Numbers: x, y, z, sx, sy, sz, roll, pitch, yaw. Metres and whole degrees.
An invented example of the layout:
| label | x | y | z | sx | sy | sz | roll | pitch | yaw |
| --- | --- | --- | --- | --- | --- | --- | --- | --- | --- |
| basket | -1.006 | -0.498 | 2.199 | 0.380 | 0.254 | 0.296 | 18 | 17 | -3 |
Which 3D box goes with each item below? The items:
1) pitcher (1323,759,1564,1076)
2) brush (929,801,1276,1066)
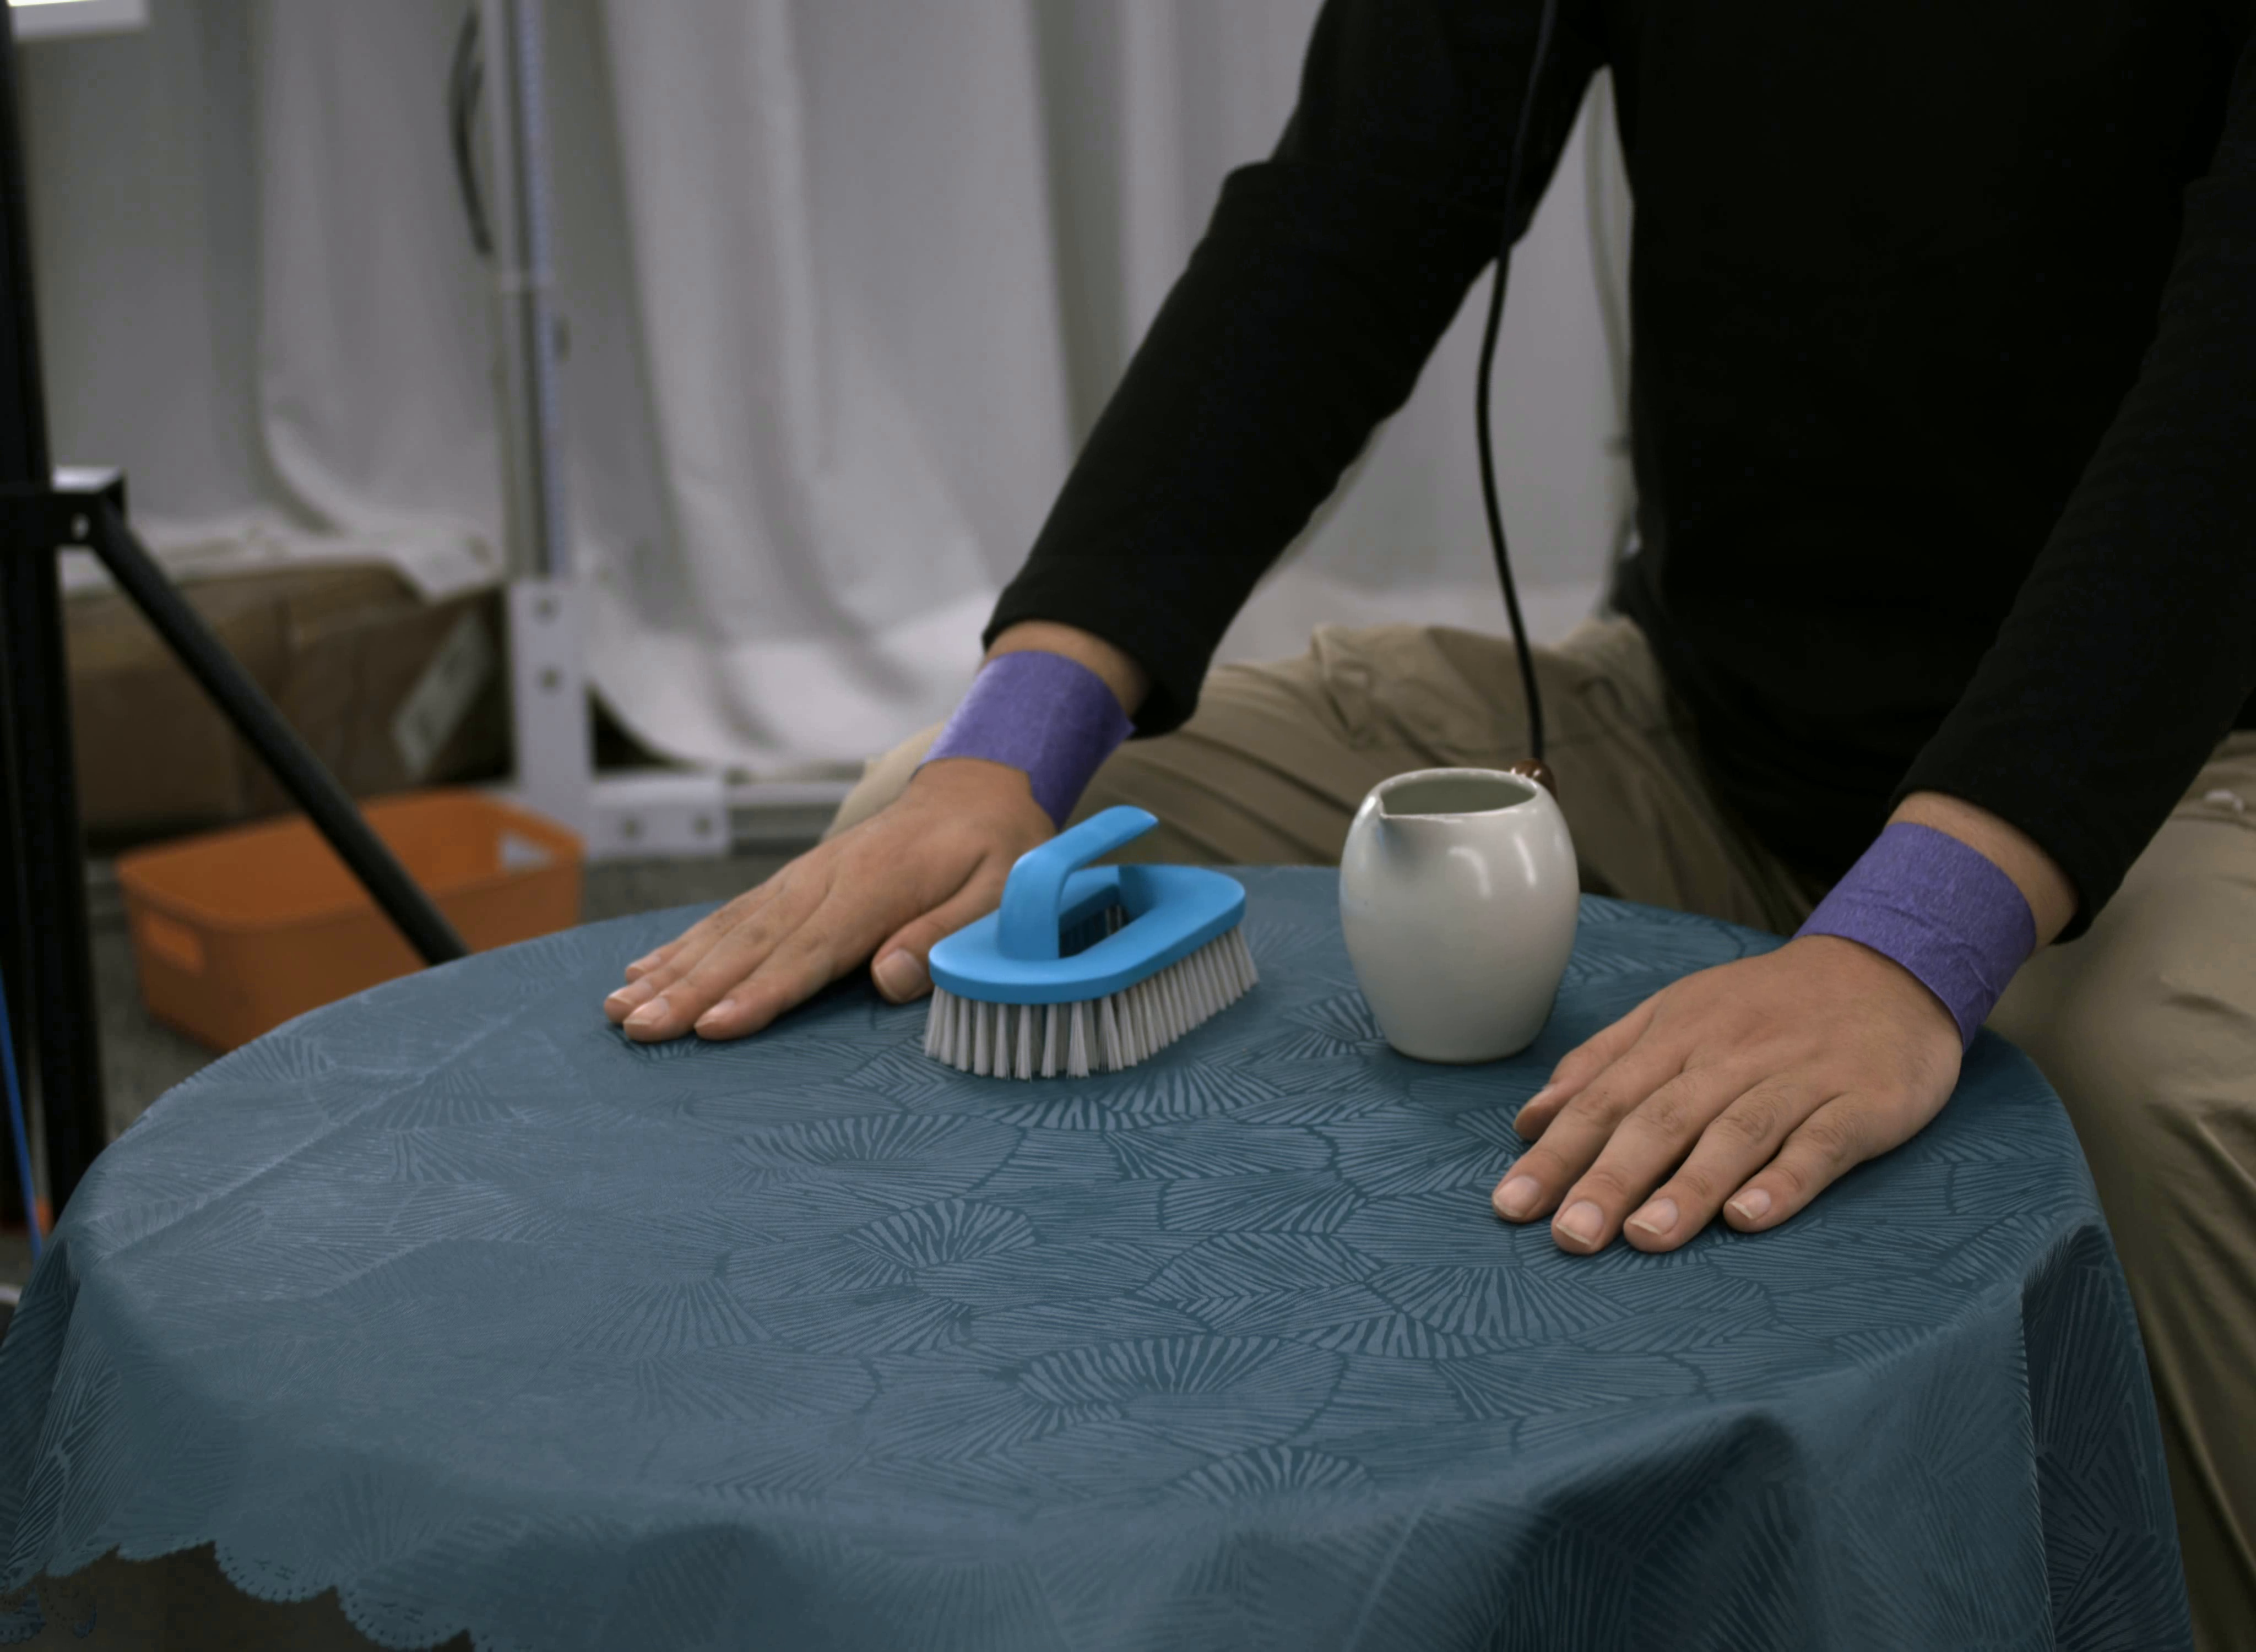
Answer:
| label | x | y | z | sx | sy | sz | roll | pitch | yaw |
| --- | --- | --- | --- | --- | --- | --- | --- | --- | --- |
| pitcher | 0.103 | 0.028 | 1.667 | 0.077 | 0.088 | 0.117 | 14 | 25 | 32 |
| brush | -0.010 | 0.030 | 1.717 | 0.086 | 0.064 | 0.139 | 2 | 15 | 30 |
